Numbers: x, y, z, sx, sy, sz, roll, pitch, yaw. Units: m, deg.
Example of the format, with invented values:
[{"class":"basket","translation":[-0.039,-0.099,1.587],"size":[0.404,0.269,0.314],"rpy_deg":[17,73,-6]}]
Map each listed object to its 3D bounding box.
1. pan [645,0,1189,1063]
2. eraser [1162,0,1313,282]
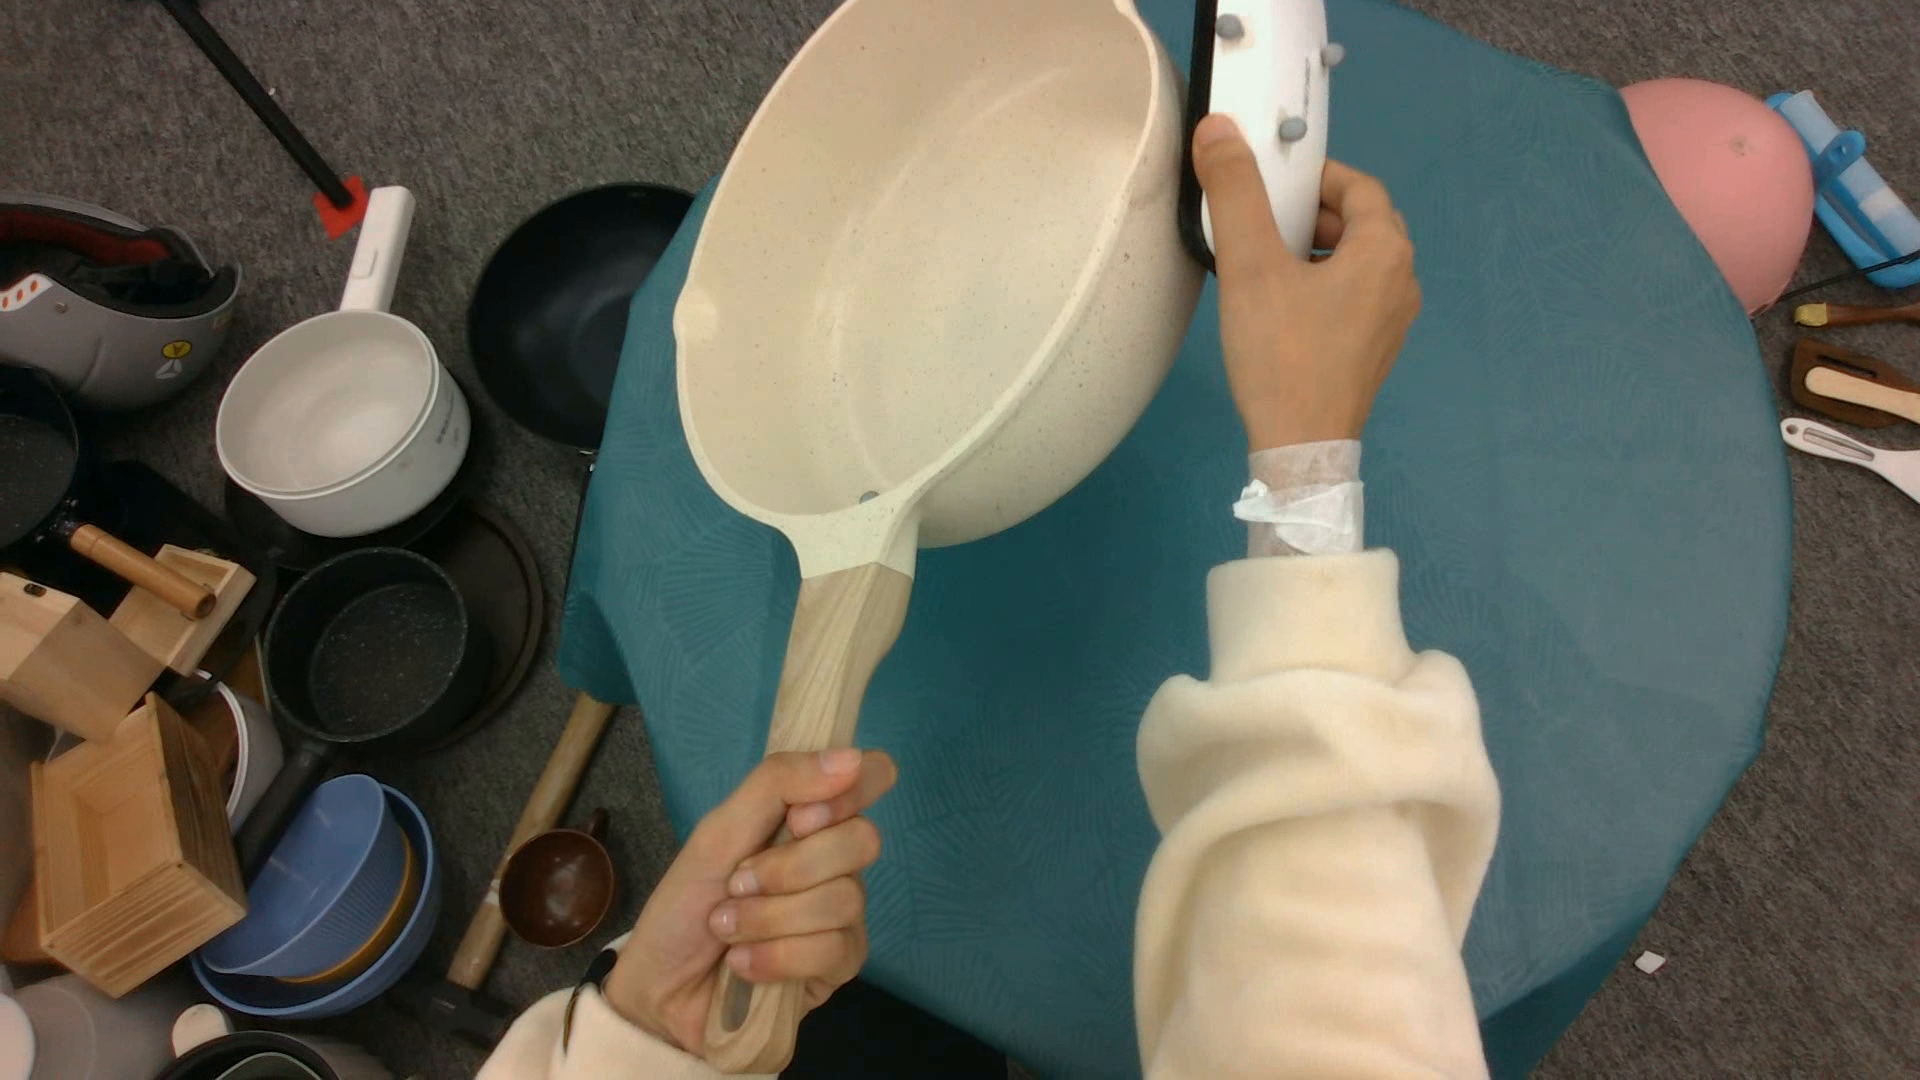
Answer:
[{"class":"pan","translation":[-0.026,-0.032,0.524],"size":[0.262,0.102,0.436],"rpy_deg":[-14,63,38]},{"class":"eraser","translation":[0.101,-0.161,0.496],"size":[0.034,0.063,0.131],"rpy_deg":[-5,75,36]}]
